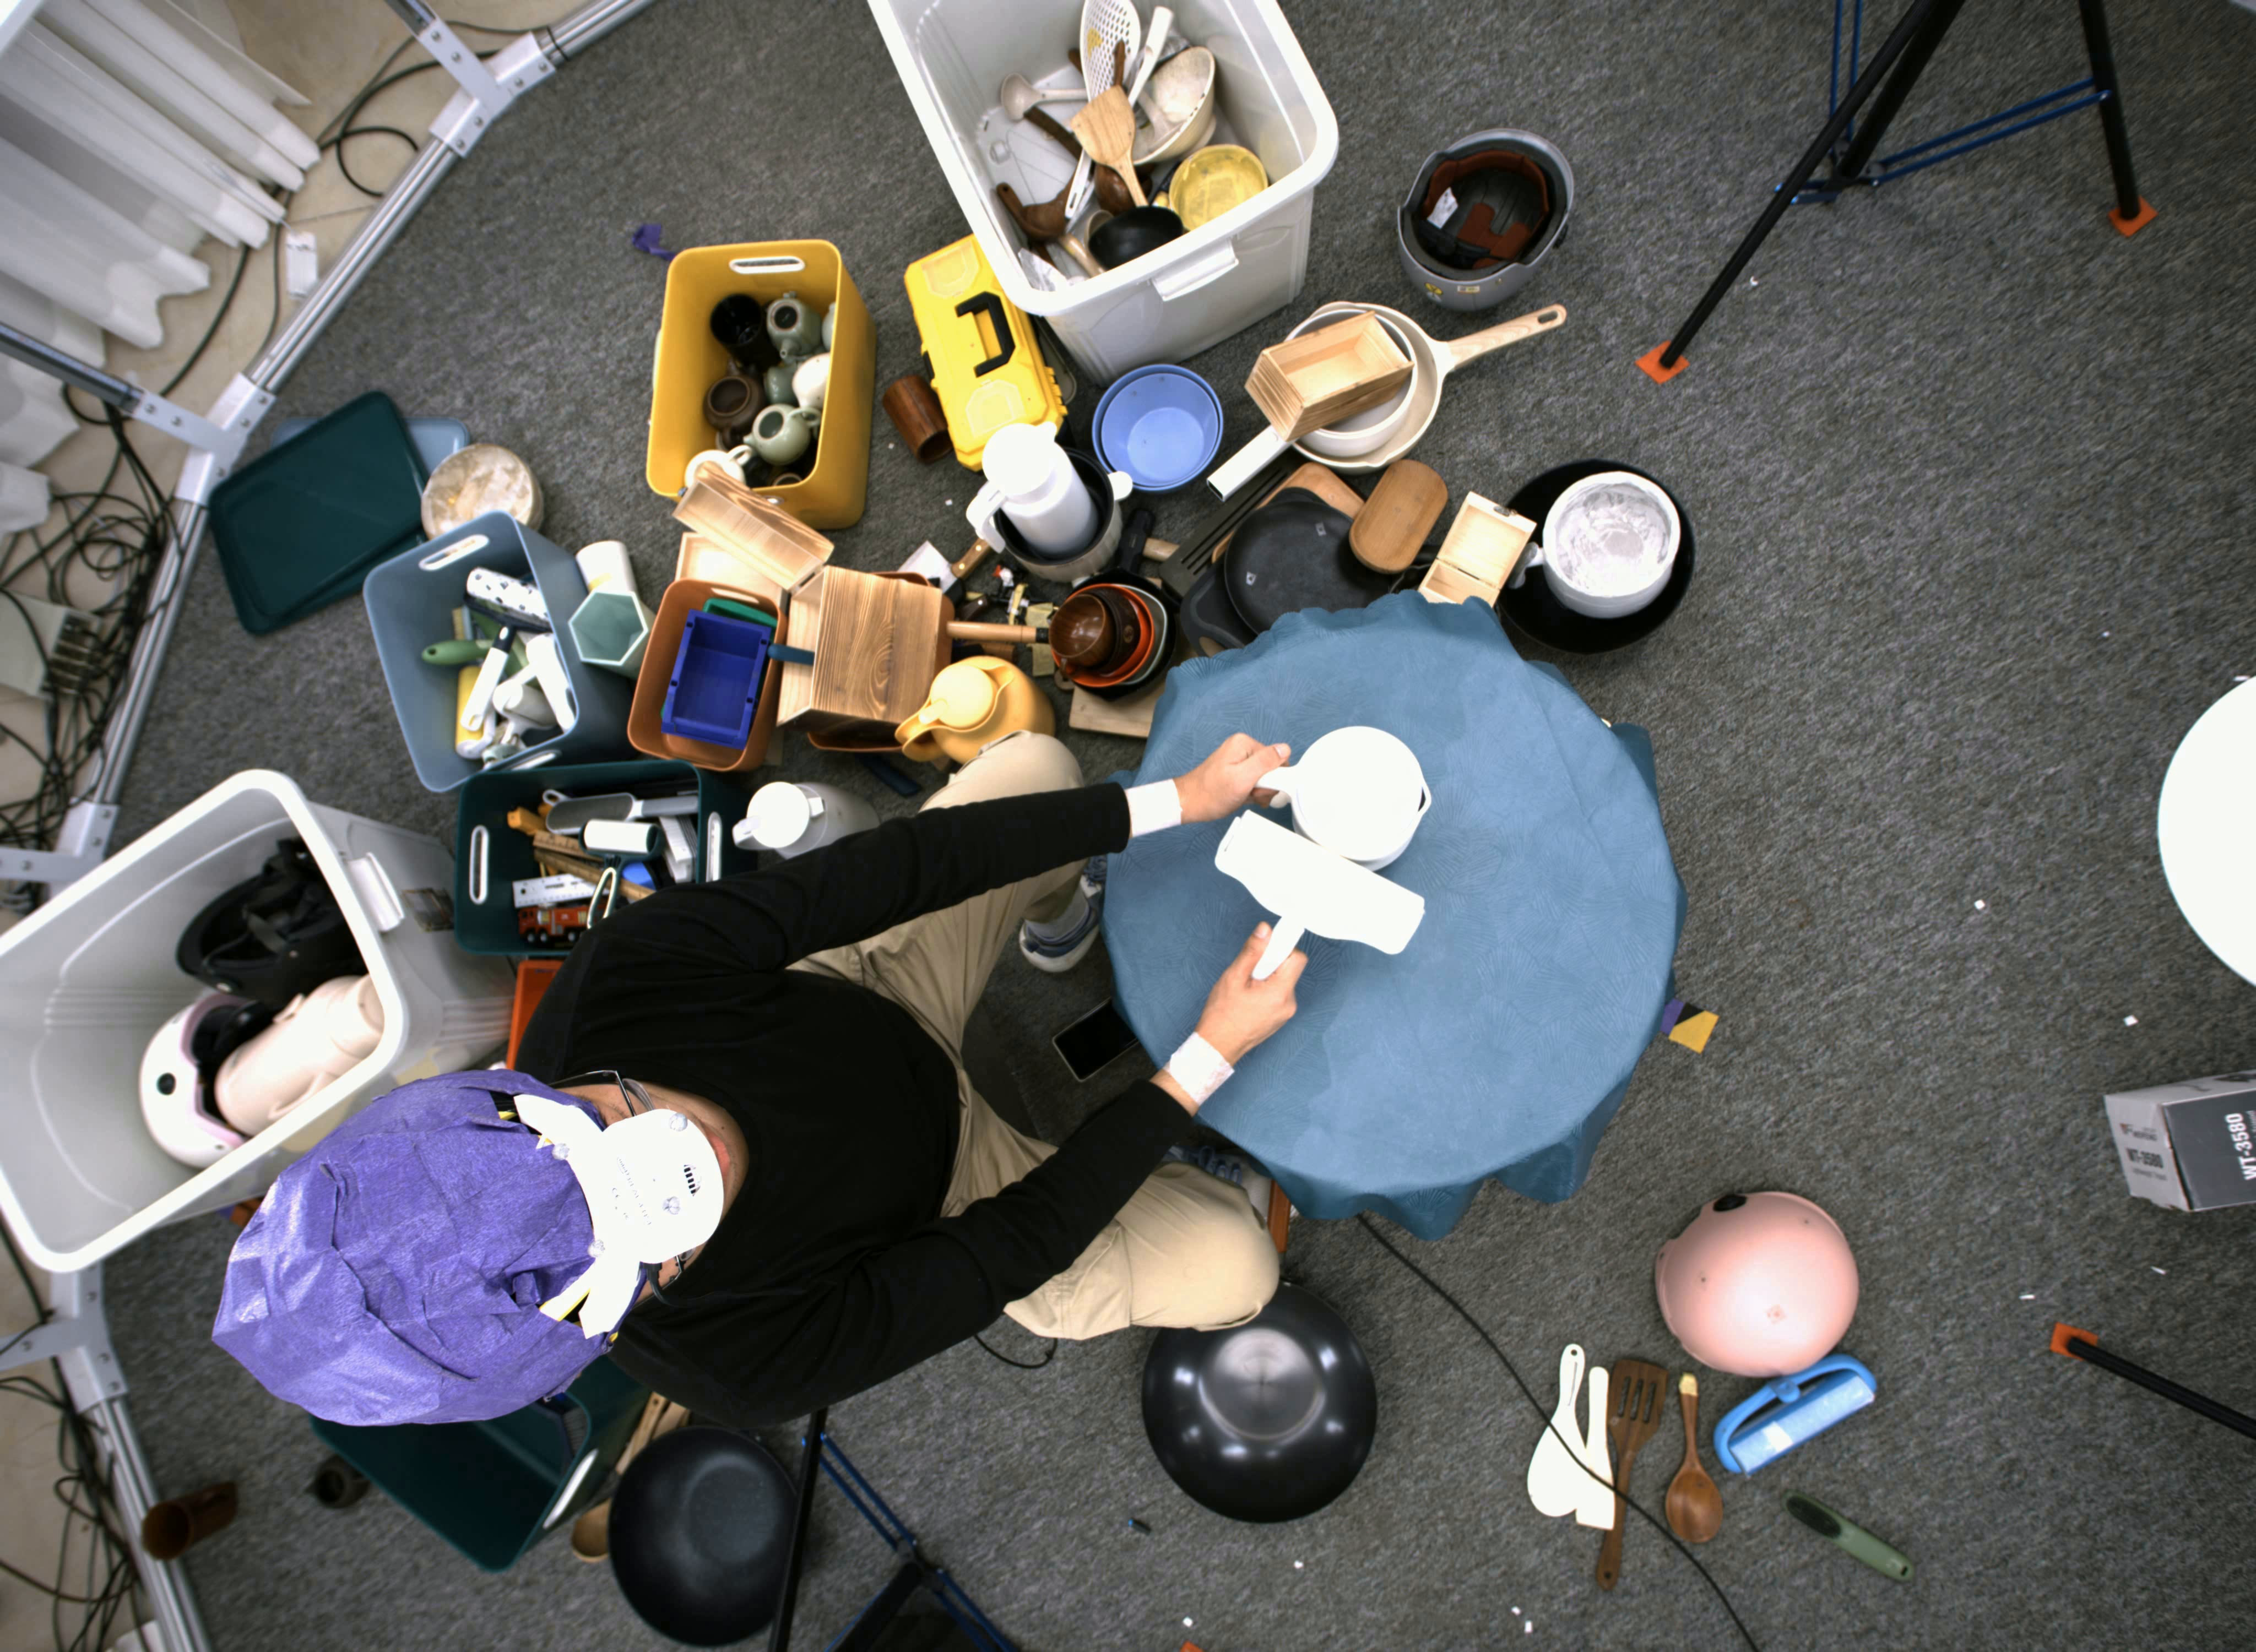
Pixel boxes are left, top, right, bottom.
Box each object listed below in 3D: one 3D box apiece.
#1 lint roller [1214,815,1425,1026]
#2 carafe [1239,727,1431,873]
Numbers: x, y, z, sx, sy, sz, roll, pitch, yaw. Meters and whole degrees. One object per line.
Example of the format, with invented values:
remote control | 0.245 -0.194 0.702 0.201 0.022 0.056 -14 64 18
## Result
lint roller | 0.153 0.117 1.364 0.203 0.047 0.231 25 120 -4
carafe | 0.205 -0.029 1.387 0.191 0.183 0.131 8 84 11
